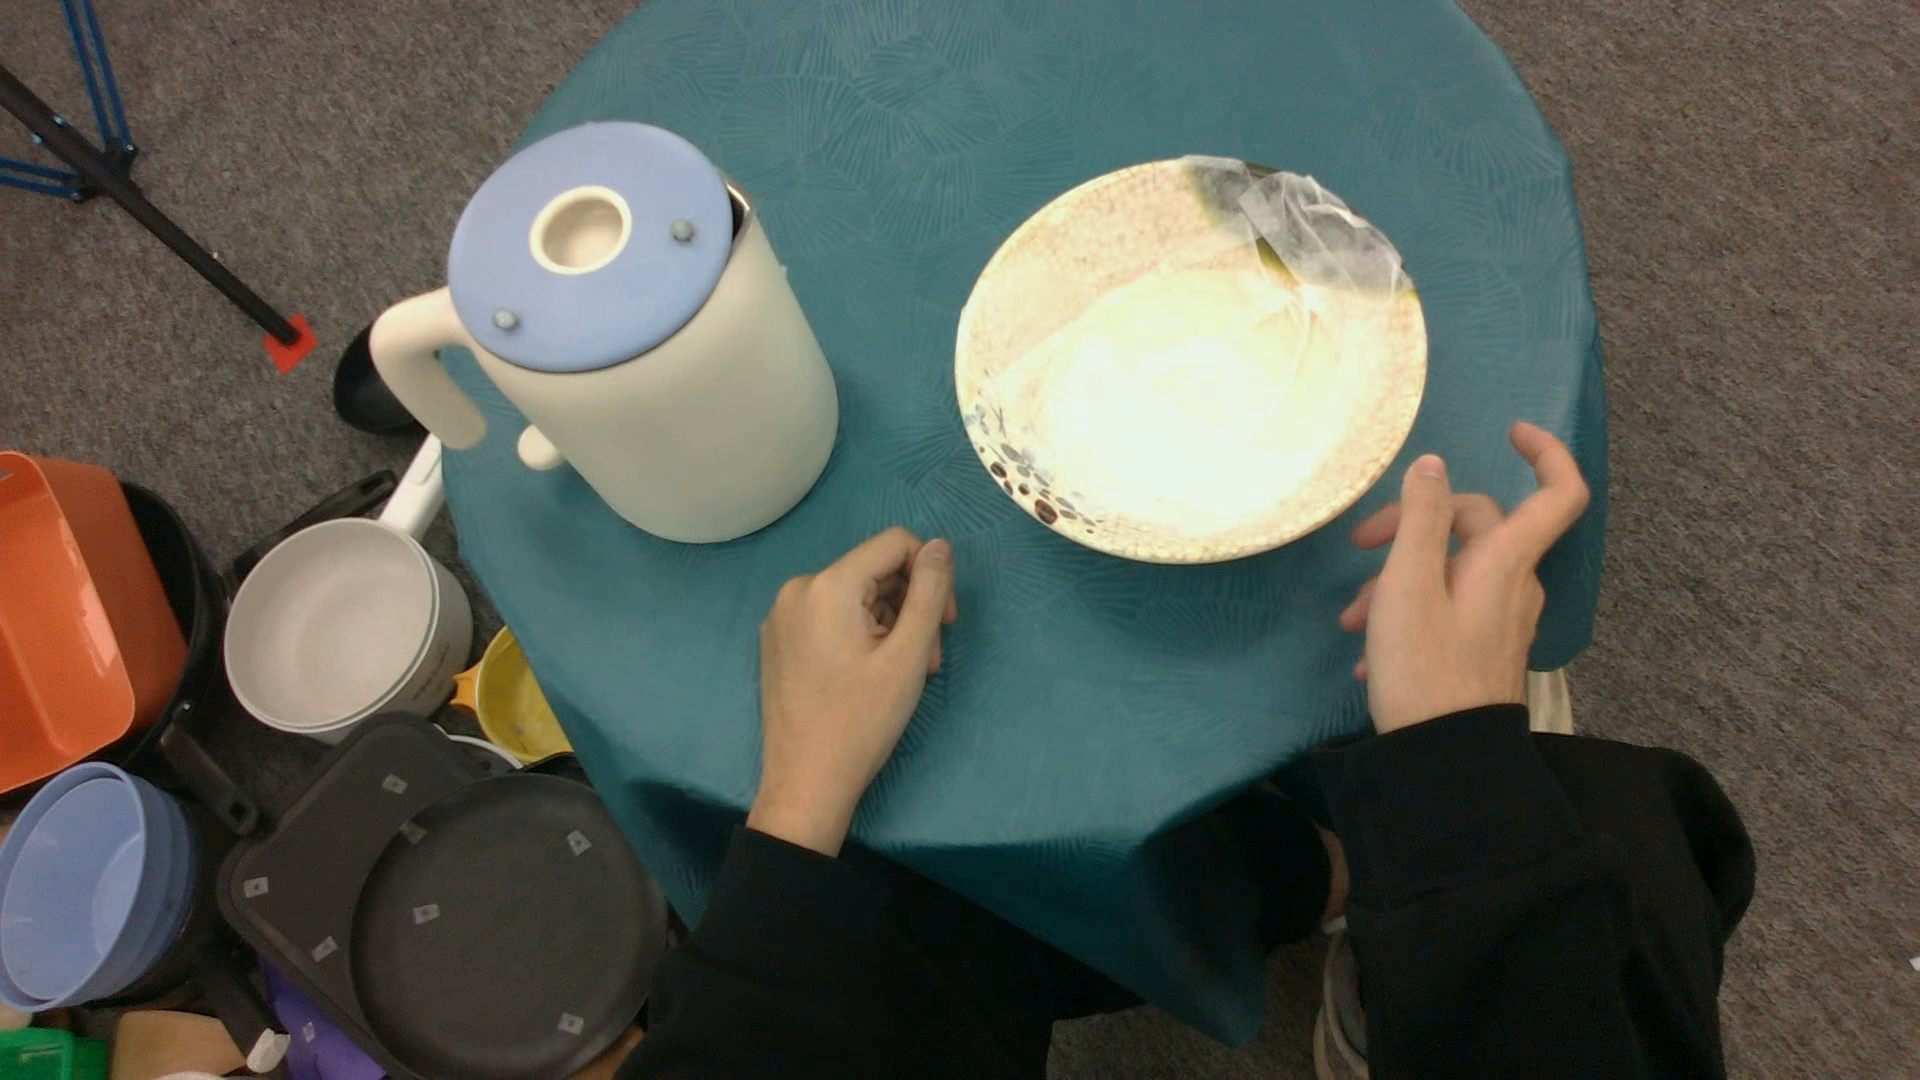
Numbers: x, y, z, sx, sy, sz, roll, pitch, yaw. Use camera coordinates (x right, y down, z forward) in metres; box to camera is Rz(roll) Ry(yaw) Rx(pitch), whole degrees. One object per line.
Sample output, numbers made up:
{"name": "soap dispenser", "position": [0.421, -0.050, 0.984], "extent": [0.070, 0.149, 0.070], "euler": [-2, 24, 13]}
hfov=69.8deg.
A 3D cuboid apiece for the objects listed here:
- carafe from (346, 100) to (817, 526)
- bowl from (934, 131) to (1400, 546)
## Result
{"name": "carafe", "position": [-0.171, -0.090, 0.627], "extent": [0.191, 0.182, 0.132], "euler": [-16, 65, 4]}
{"name": "bowl", "position": [0.094, -0.082, 0.638], "extent": [0.204, 0.078, 0.204], "euler": [-3, 70, 8]}
